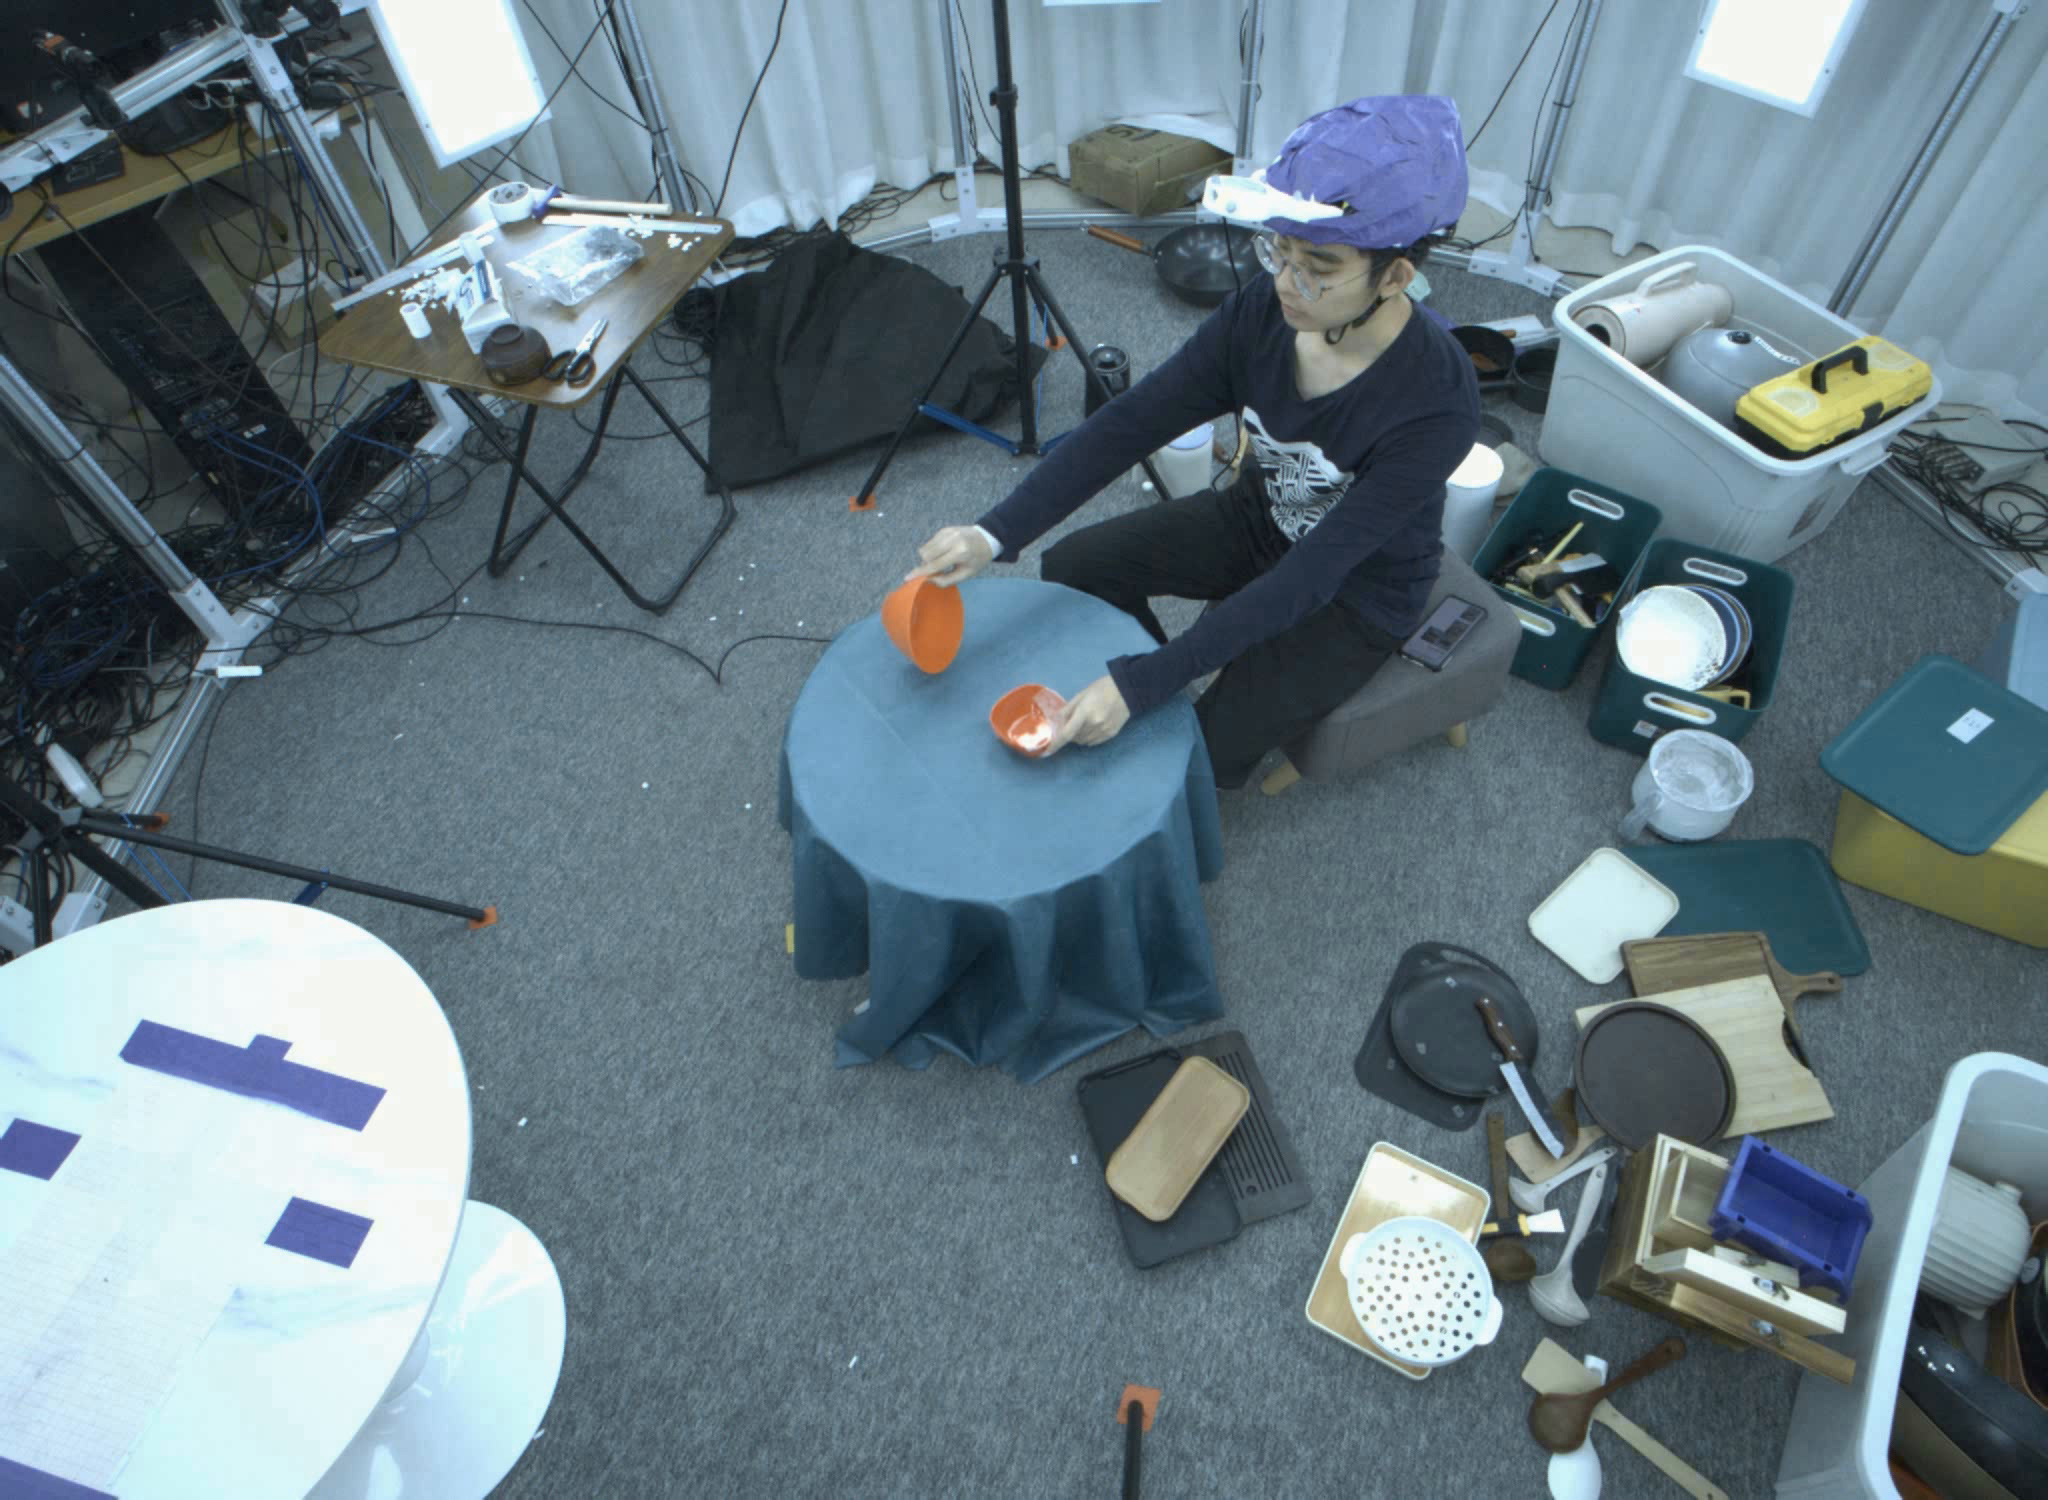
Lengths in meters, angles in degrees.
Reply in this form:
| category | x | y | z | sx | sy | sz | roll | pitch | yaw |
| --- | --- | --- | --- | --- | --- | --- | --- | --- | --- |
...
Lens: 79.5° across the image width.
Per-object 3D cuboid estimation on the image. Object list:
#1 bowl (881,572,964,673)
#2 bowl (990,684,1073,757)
| category | x | y | z | sx | sy | sz | roll | pitch | yaw |
| --- | --- | --- | --- | --- | --- | --- | --- | --- | --- |
| bowl | -0.161 | -0.192 | 1.814 | 0.102 | 0.151 | 0.148 | 11 | 54 | 35 |
| bowl | 0.013 | -0.036 | 1.788 | 0.119 | 0.052 | 0.117 | -1 | 54 | 3 |
